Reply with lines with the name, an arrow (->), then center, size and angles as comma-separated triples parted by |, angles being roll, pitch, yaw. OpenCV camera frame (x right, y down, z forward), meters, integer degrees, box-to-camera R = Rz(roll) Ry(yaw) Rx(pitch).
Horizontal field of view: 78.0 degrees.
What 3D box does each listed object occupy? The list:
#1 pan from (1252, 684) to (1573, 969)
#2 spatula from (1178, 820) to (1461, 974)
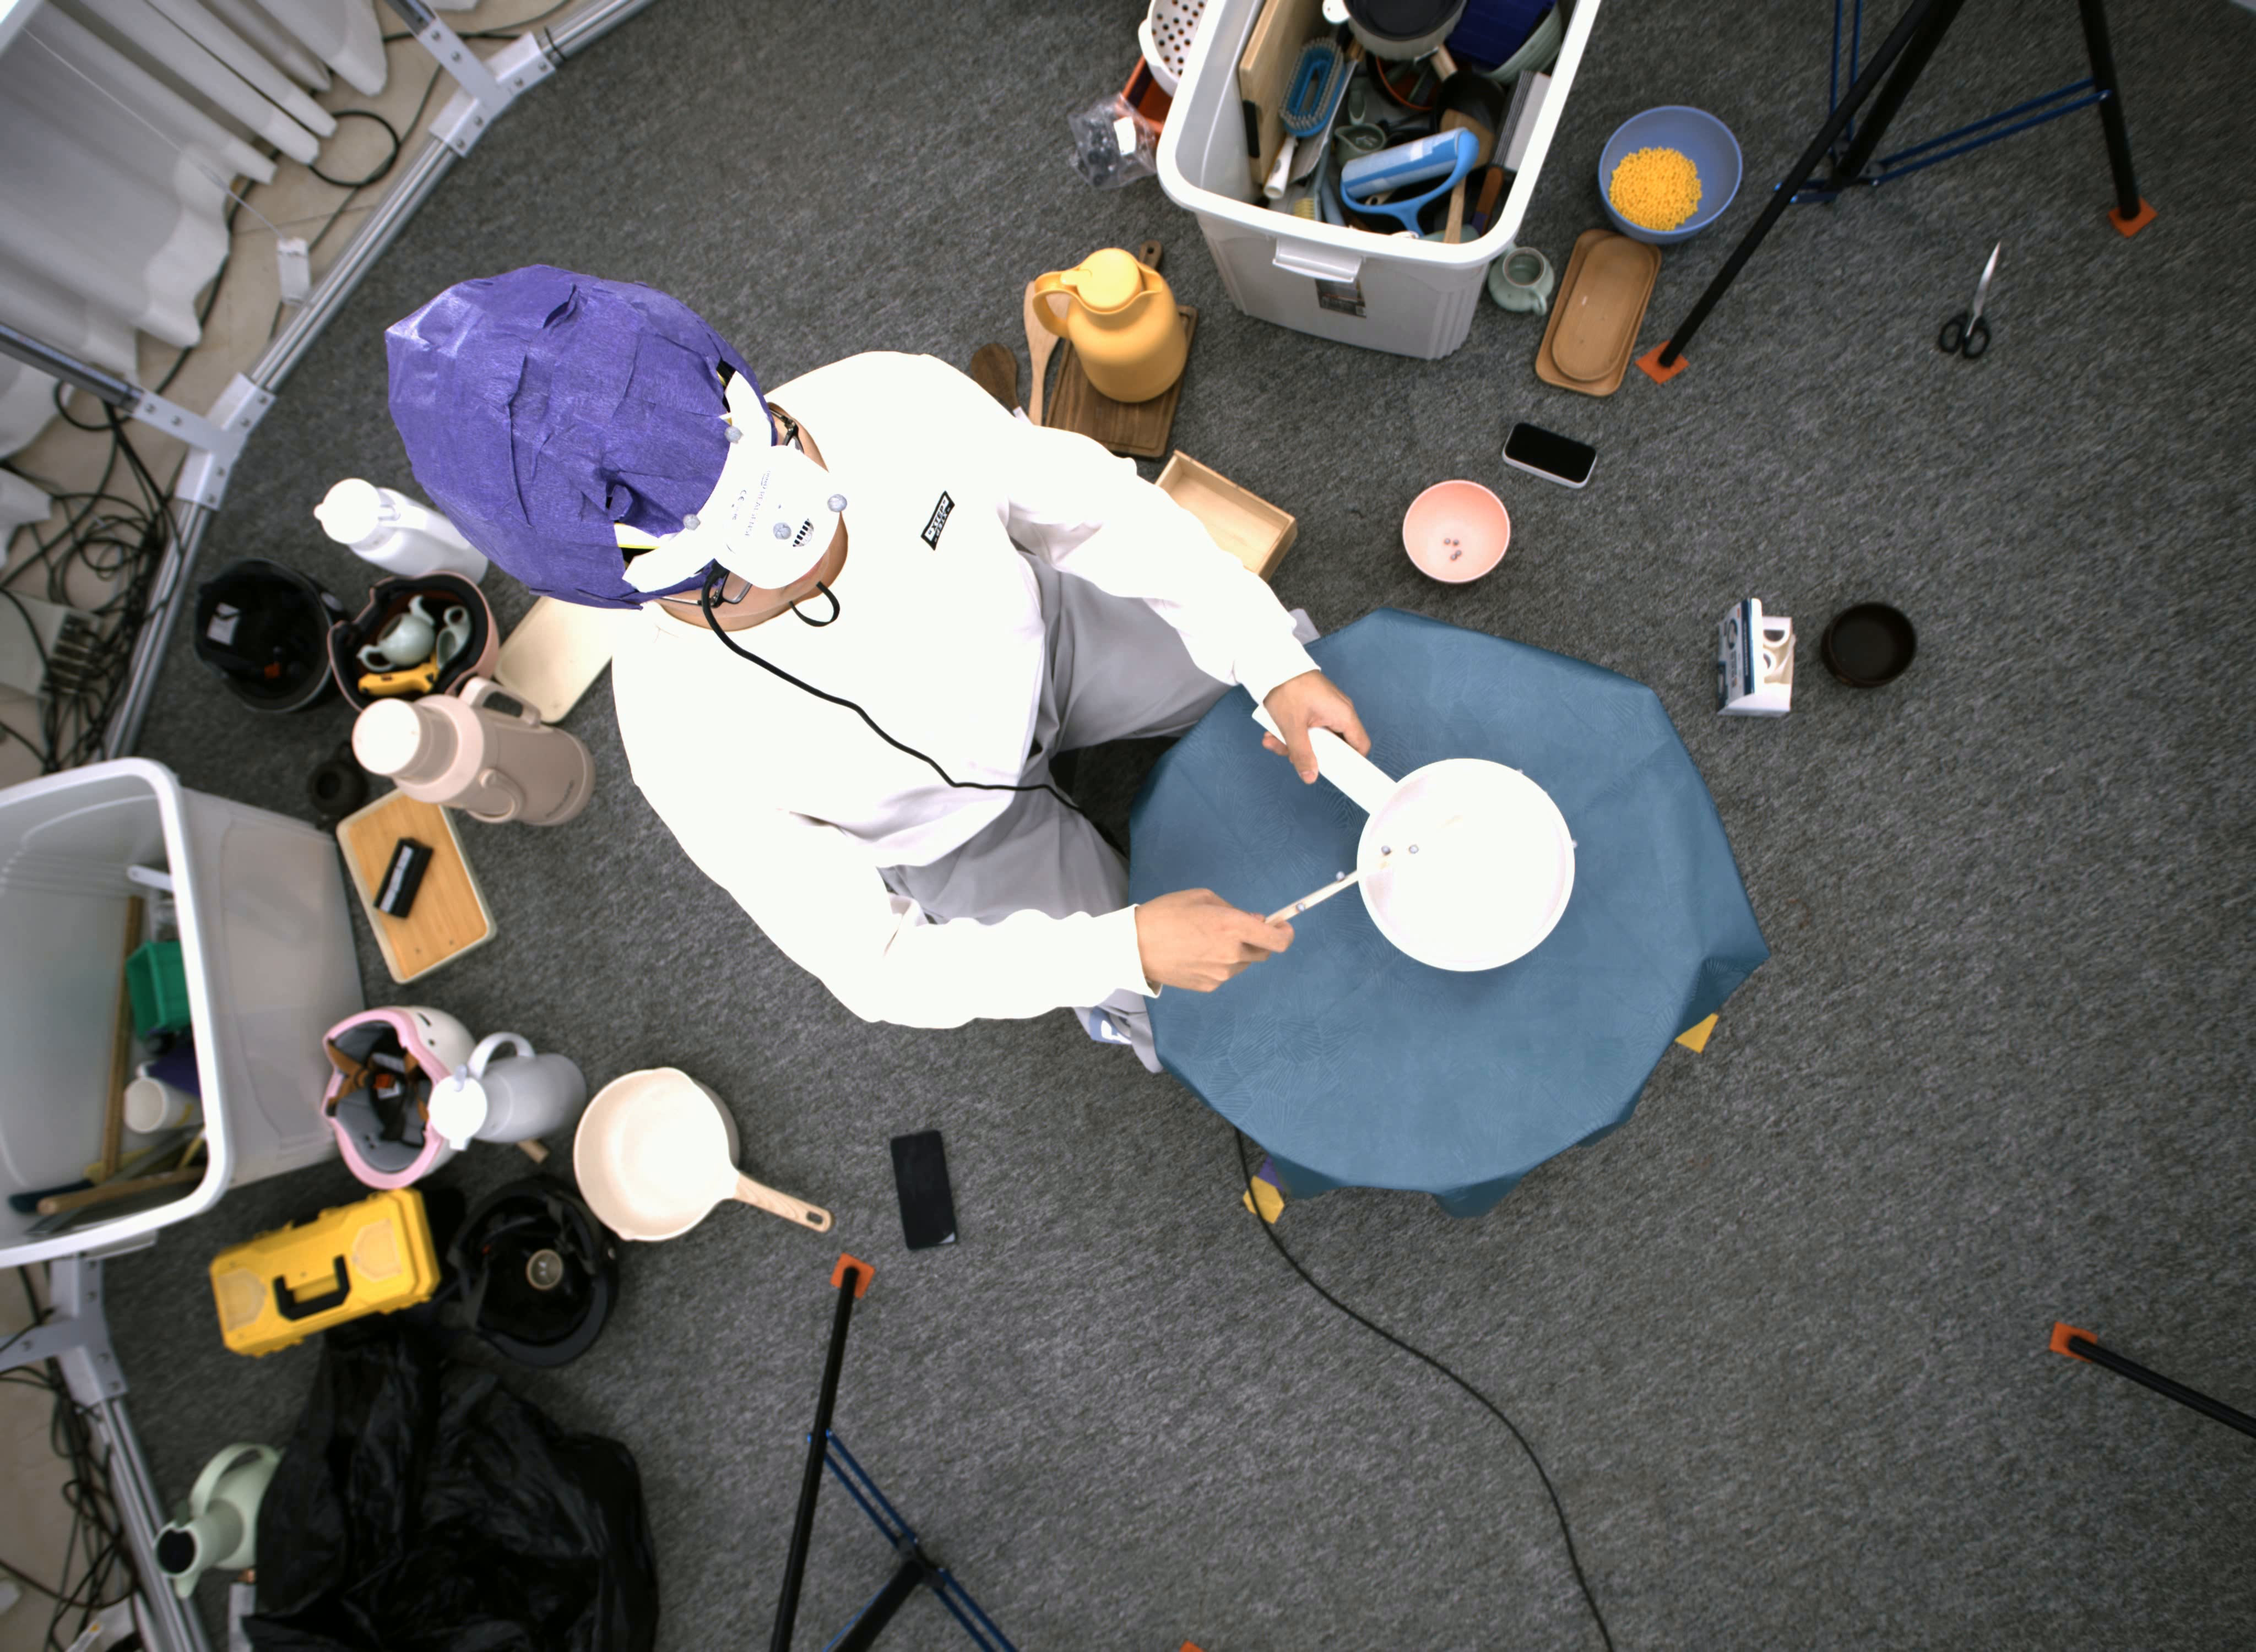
pan -> 0.274, -0.013, 1.365 | 0.353, 0.101, 0.203 | 41, 101, 13
spatula -> 0.175, 0.065, 1.275 | 0.292, 0.072, 0.010 | -28, 91, -4
